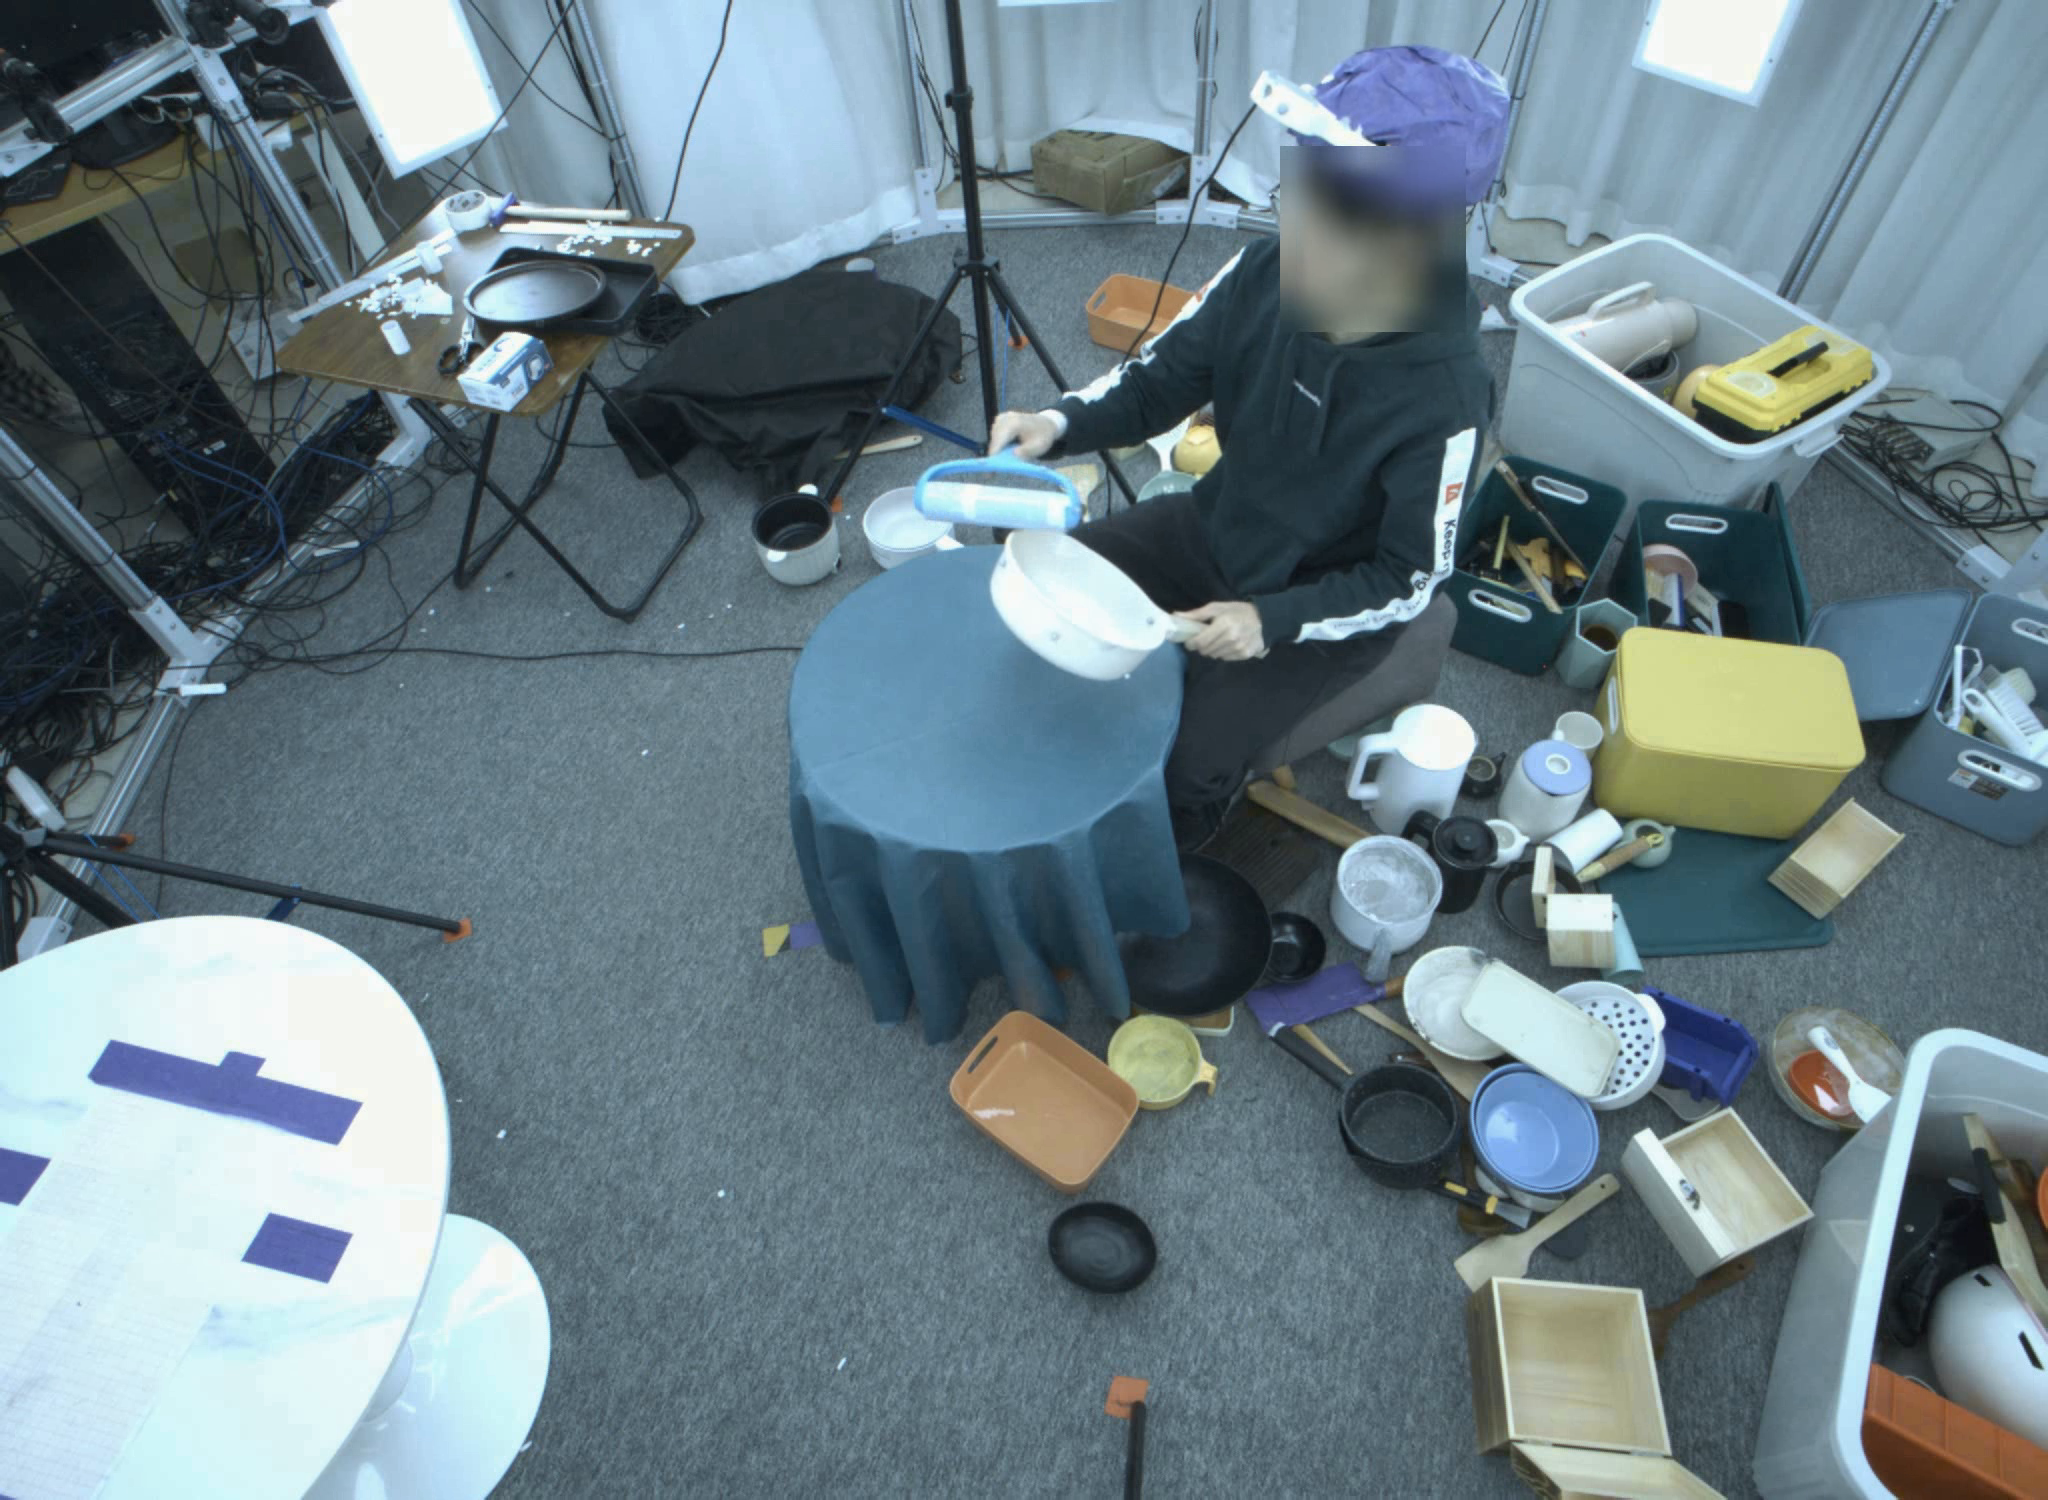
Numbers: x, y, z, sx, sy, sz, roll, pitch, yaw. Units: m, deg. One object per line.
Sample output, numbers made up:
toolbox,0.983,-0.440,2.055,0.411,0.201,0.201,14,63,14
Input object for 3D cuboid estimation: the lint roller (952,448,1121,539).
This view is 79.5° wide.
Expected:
lint roller,0.024,-0.368,1.661,0.228,0.069,0.179,6,57,7

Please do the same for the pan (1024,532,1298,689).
pan,0.190,-0.160,1.694,0.444,0.101,0.259,19,34,-30
